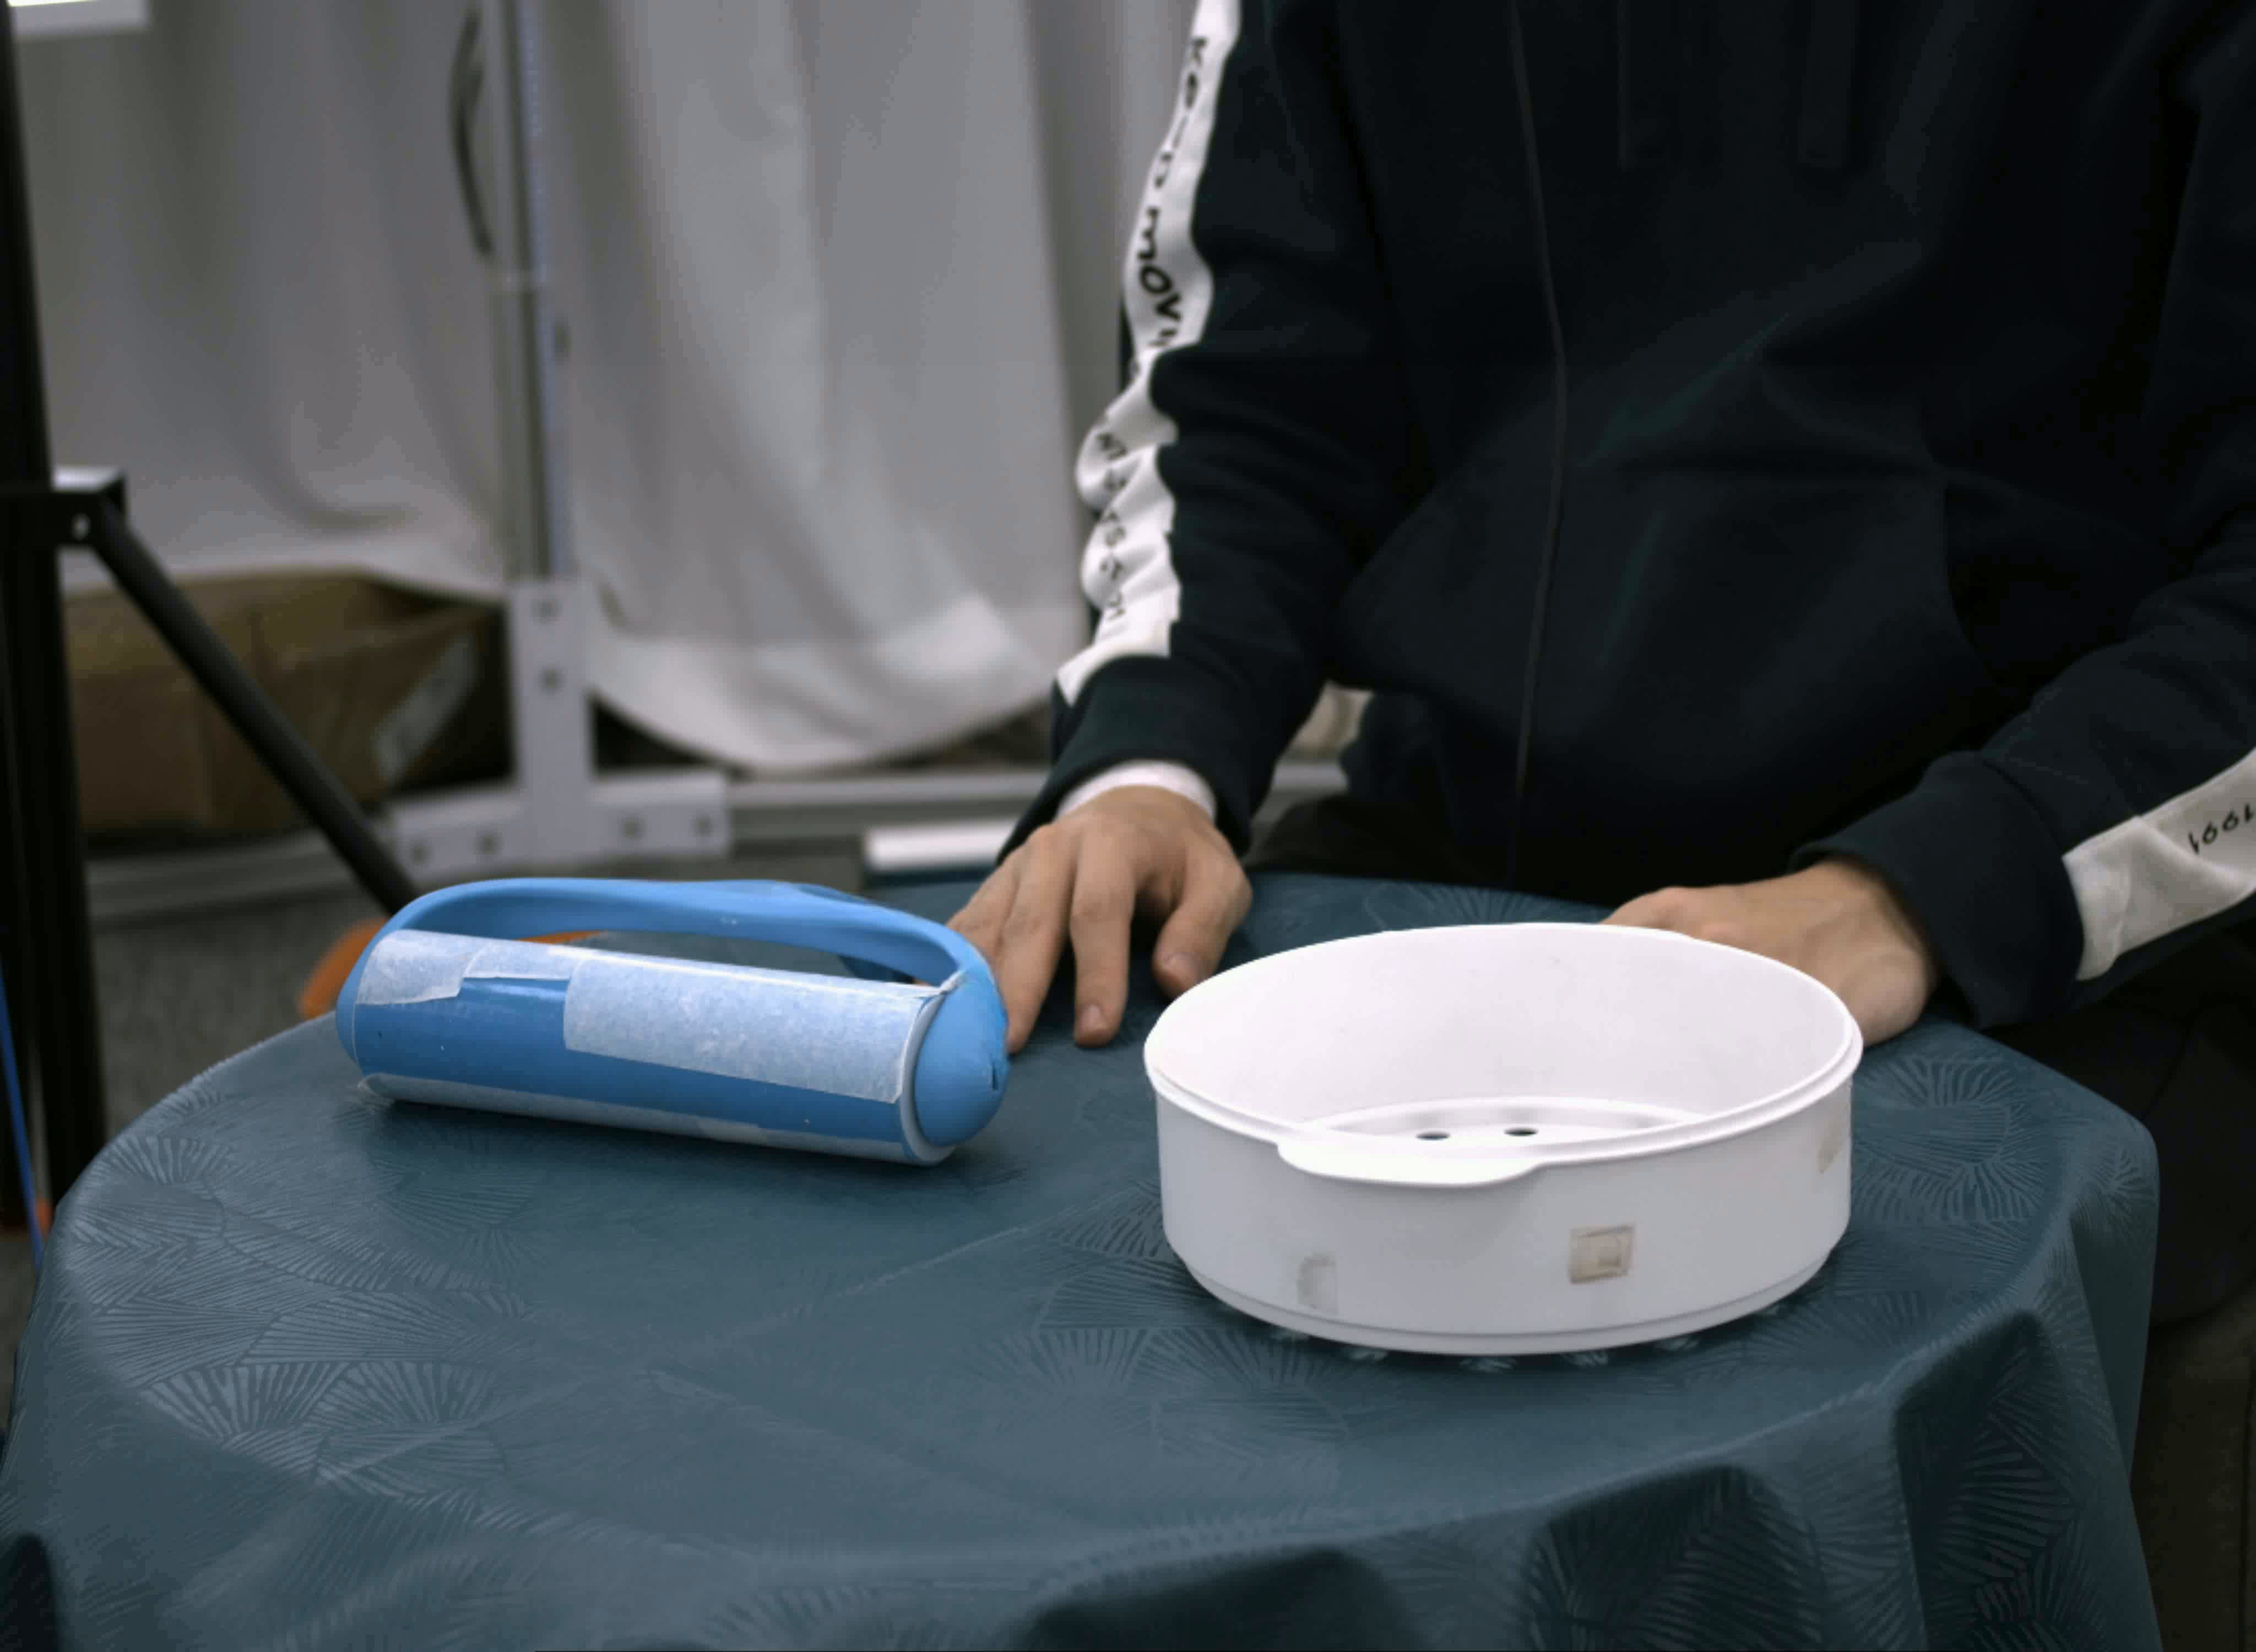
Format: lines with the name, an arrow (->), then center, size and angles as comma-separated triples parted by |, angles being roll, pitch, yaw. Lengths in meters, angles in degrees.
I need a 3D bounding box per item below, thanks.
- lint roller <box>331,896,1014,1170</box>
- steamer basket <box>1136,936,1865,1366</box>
lint roller -> -0.120, 0.052, 1.676 | 0.232, 0.068, 0.178 | 1, 17, 23
steamer basket -> 0.104, 0.090, 1.479 | 0.204, 0.069, 0.228 | 4, 16, 20
